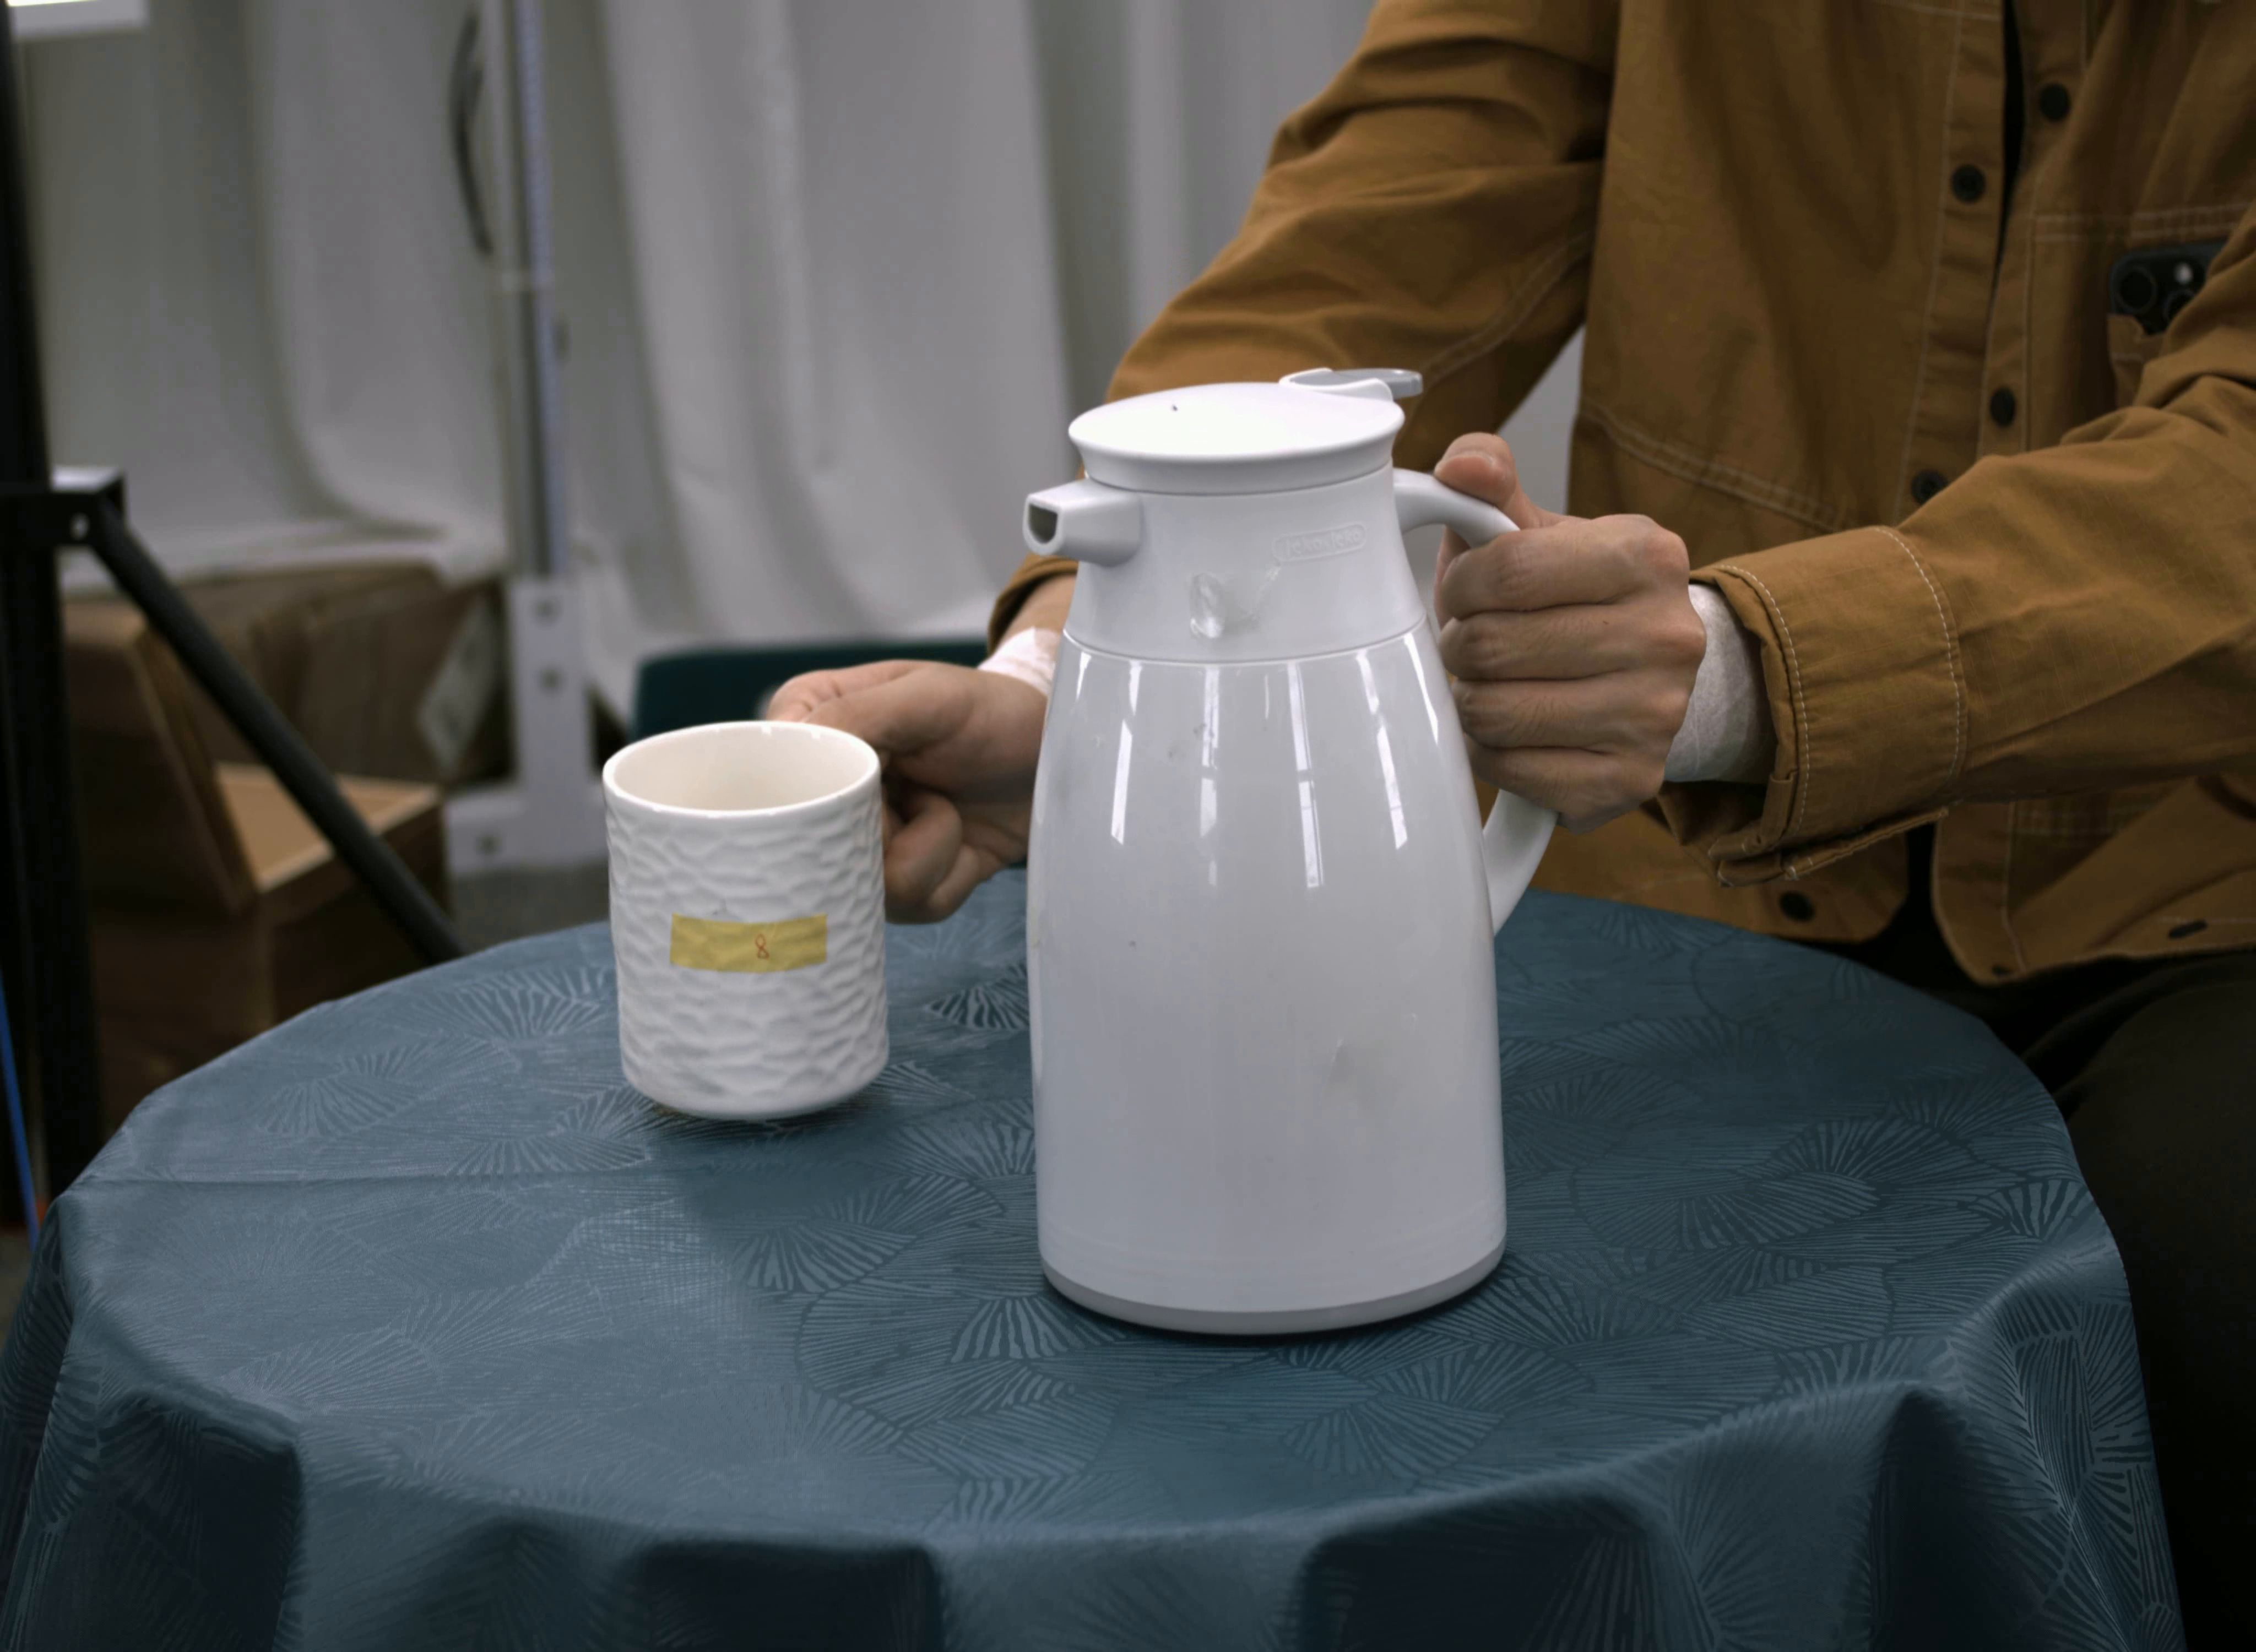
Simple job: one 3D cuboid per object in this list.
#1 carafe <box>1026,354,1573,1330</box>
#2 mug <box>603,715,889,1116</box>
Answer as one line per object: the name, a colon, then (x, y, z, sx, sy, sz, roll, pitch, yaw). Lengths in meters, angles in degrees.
carafe: (0.050, -0.004, 1.470, 0.164, 0.248, 0.135, -11, 16, -29)
mug: (-0.112, 0.022, 1.650, 0.086, 0.102, 0.117, 4, 20, 17)
